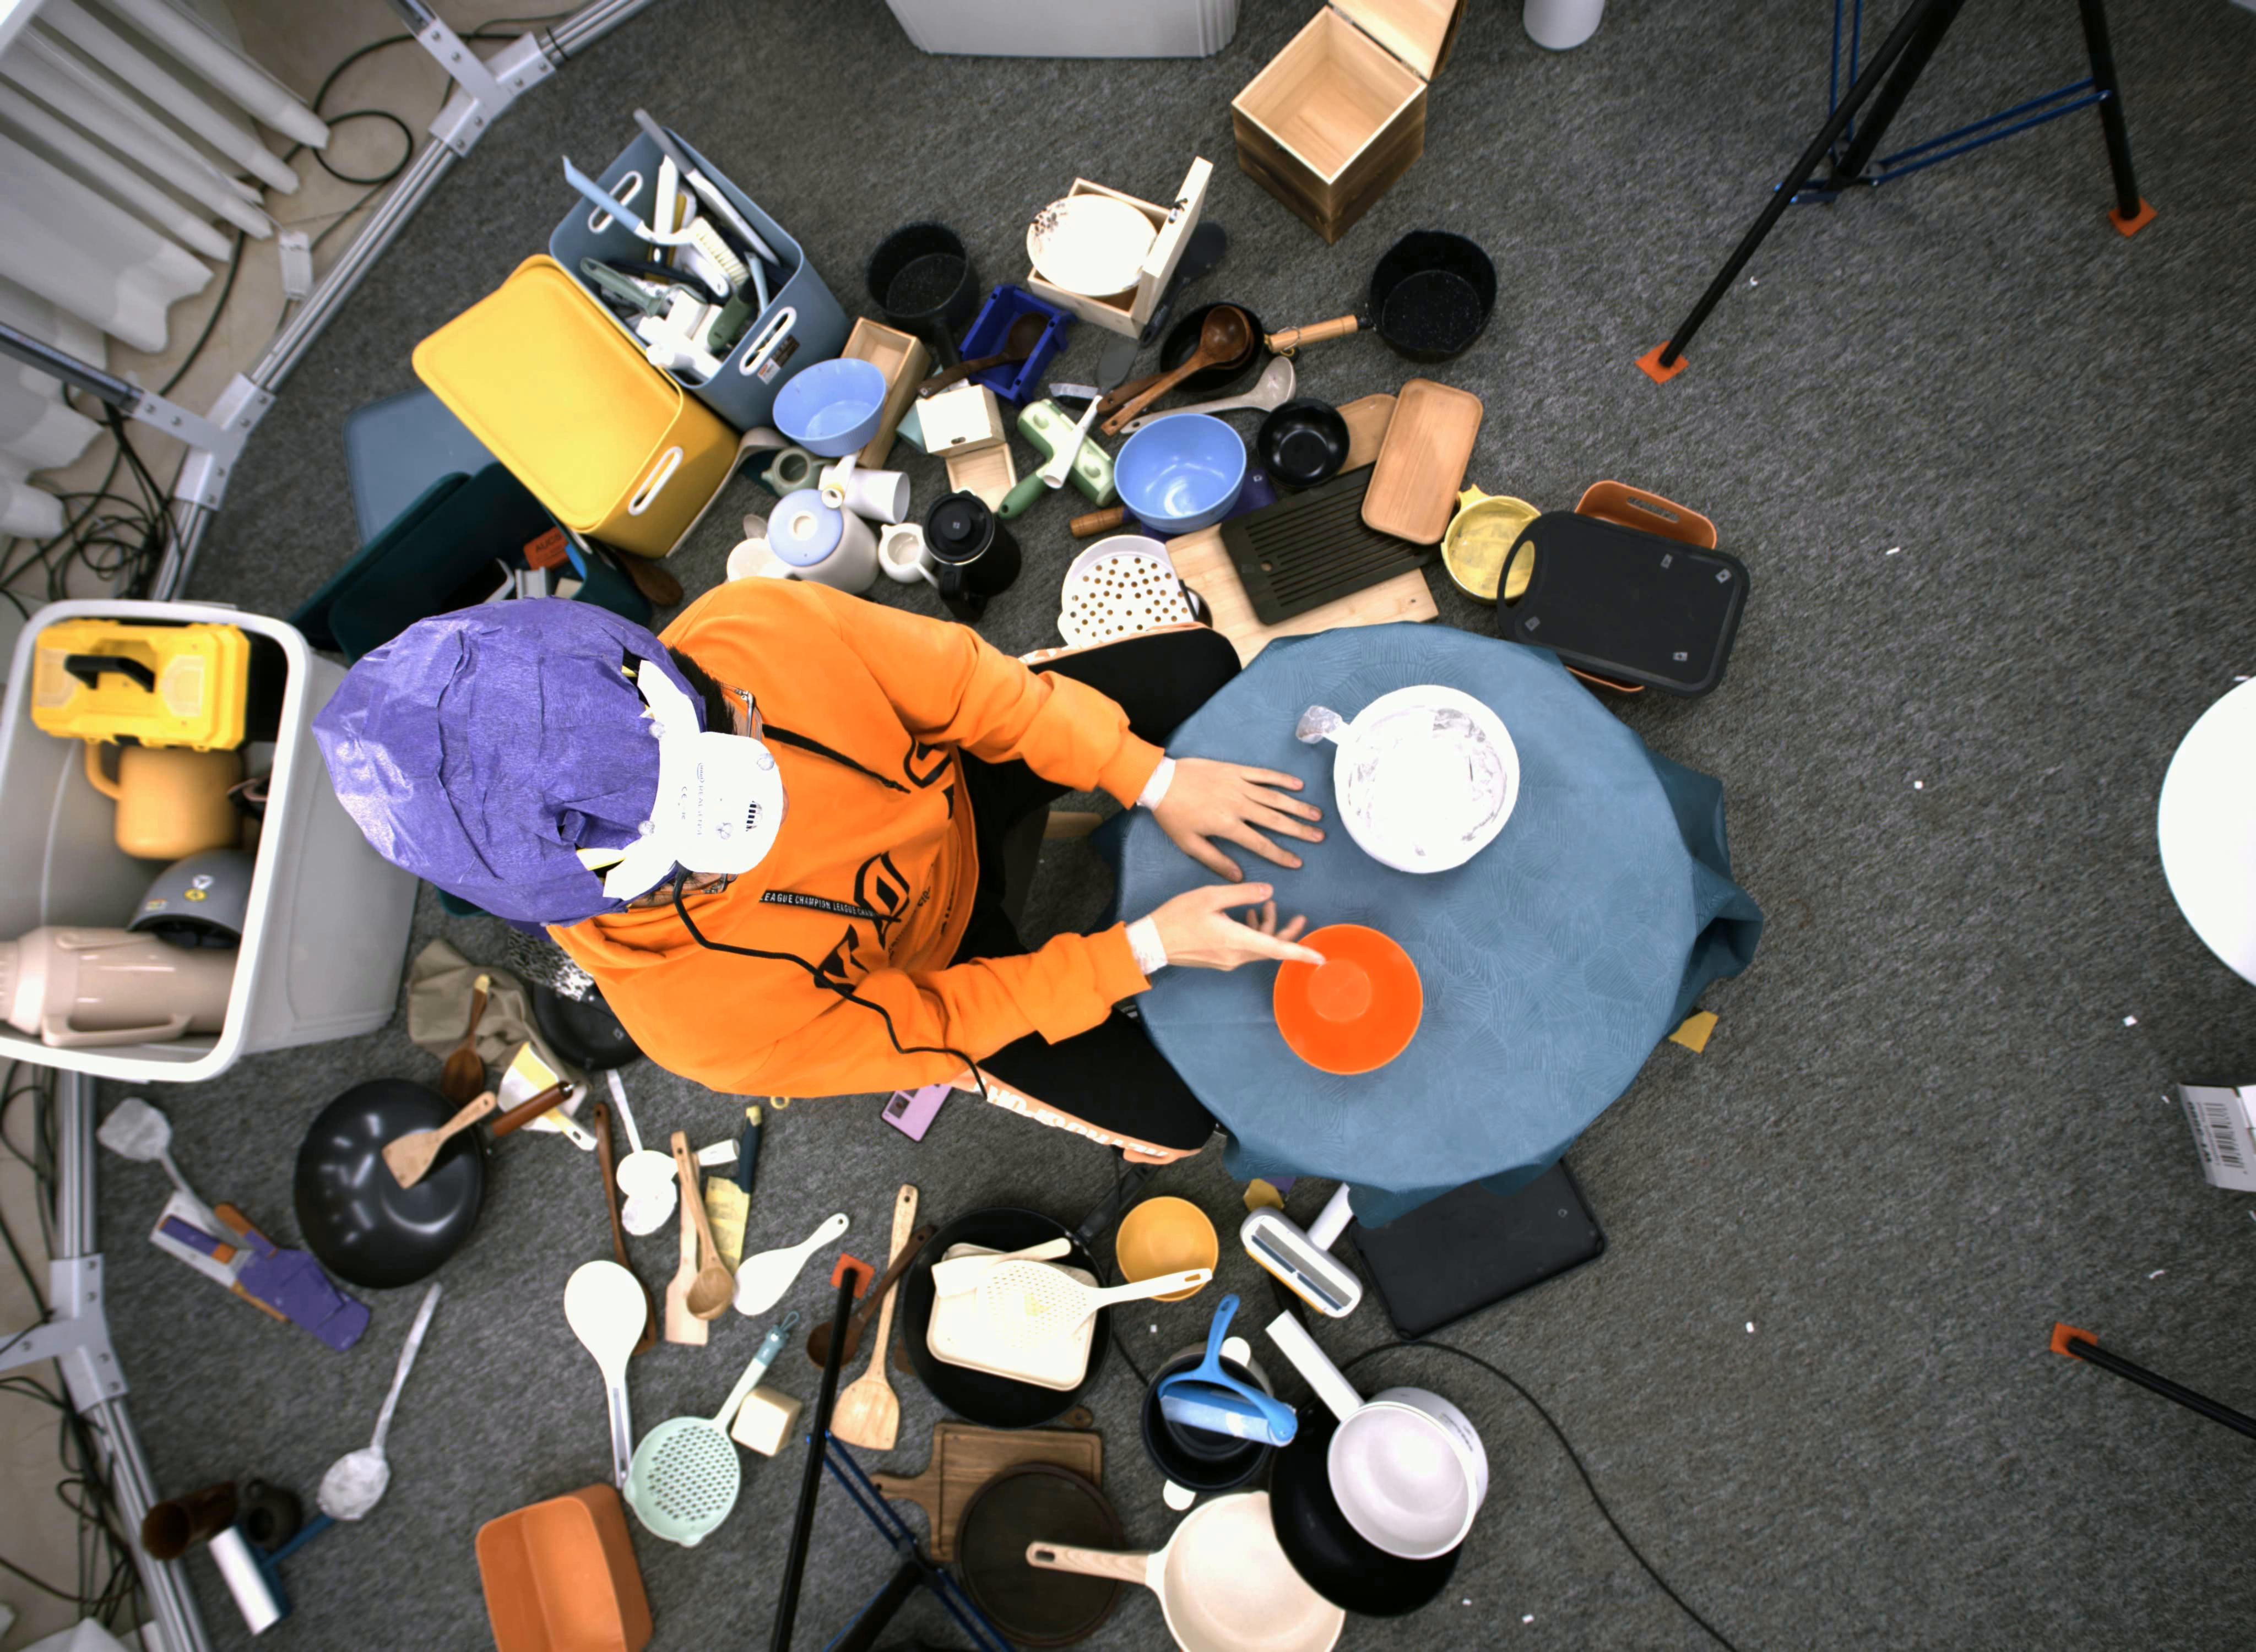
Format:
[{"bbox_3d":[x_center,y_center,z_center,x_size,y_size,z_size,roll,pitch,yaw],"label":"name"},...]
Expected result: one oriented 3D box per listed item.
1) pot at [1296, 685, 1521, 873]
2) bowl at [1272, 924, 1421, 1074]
[{"bbox_3d":[0.275,-0.057,1.396,0.233,0.137,0.179,29,91,11],"label":"pot"},{"bbox_3d":[0.223,0.175,1.414,0.148,0.105,0.147,-1,85,11],"label":"bowl"}]
